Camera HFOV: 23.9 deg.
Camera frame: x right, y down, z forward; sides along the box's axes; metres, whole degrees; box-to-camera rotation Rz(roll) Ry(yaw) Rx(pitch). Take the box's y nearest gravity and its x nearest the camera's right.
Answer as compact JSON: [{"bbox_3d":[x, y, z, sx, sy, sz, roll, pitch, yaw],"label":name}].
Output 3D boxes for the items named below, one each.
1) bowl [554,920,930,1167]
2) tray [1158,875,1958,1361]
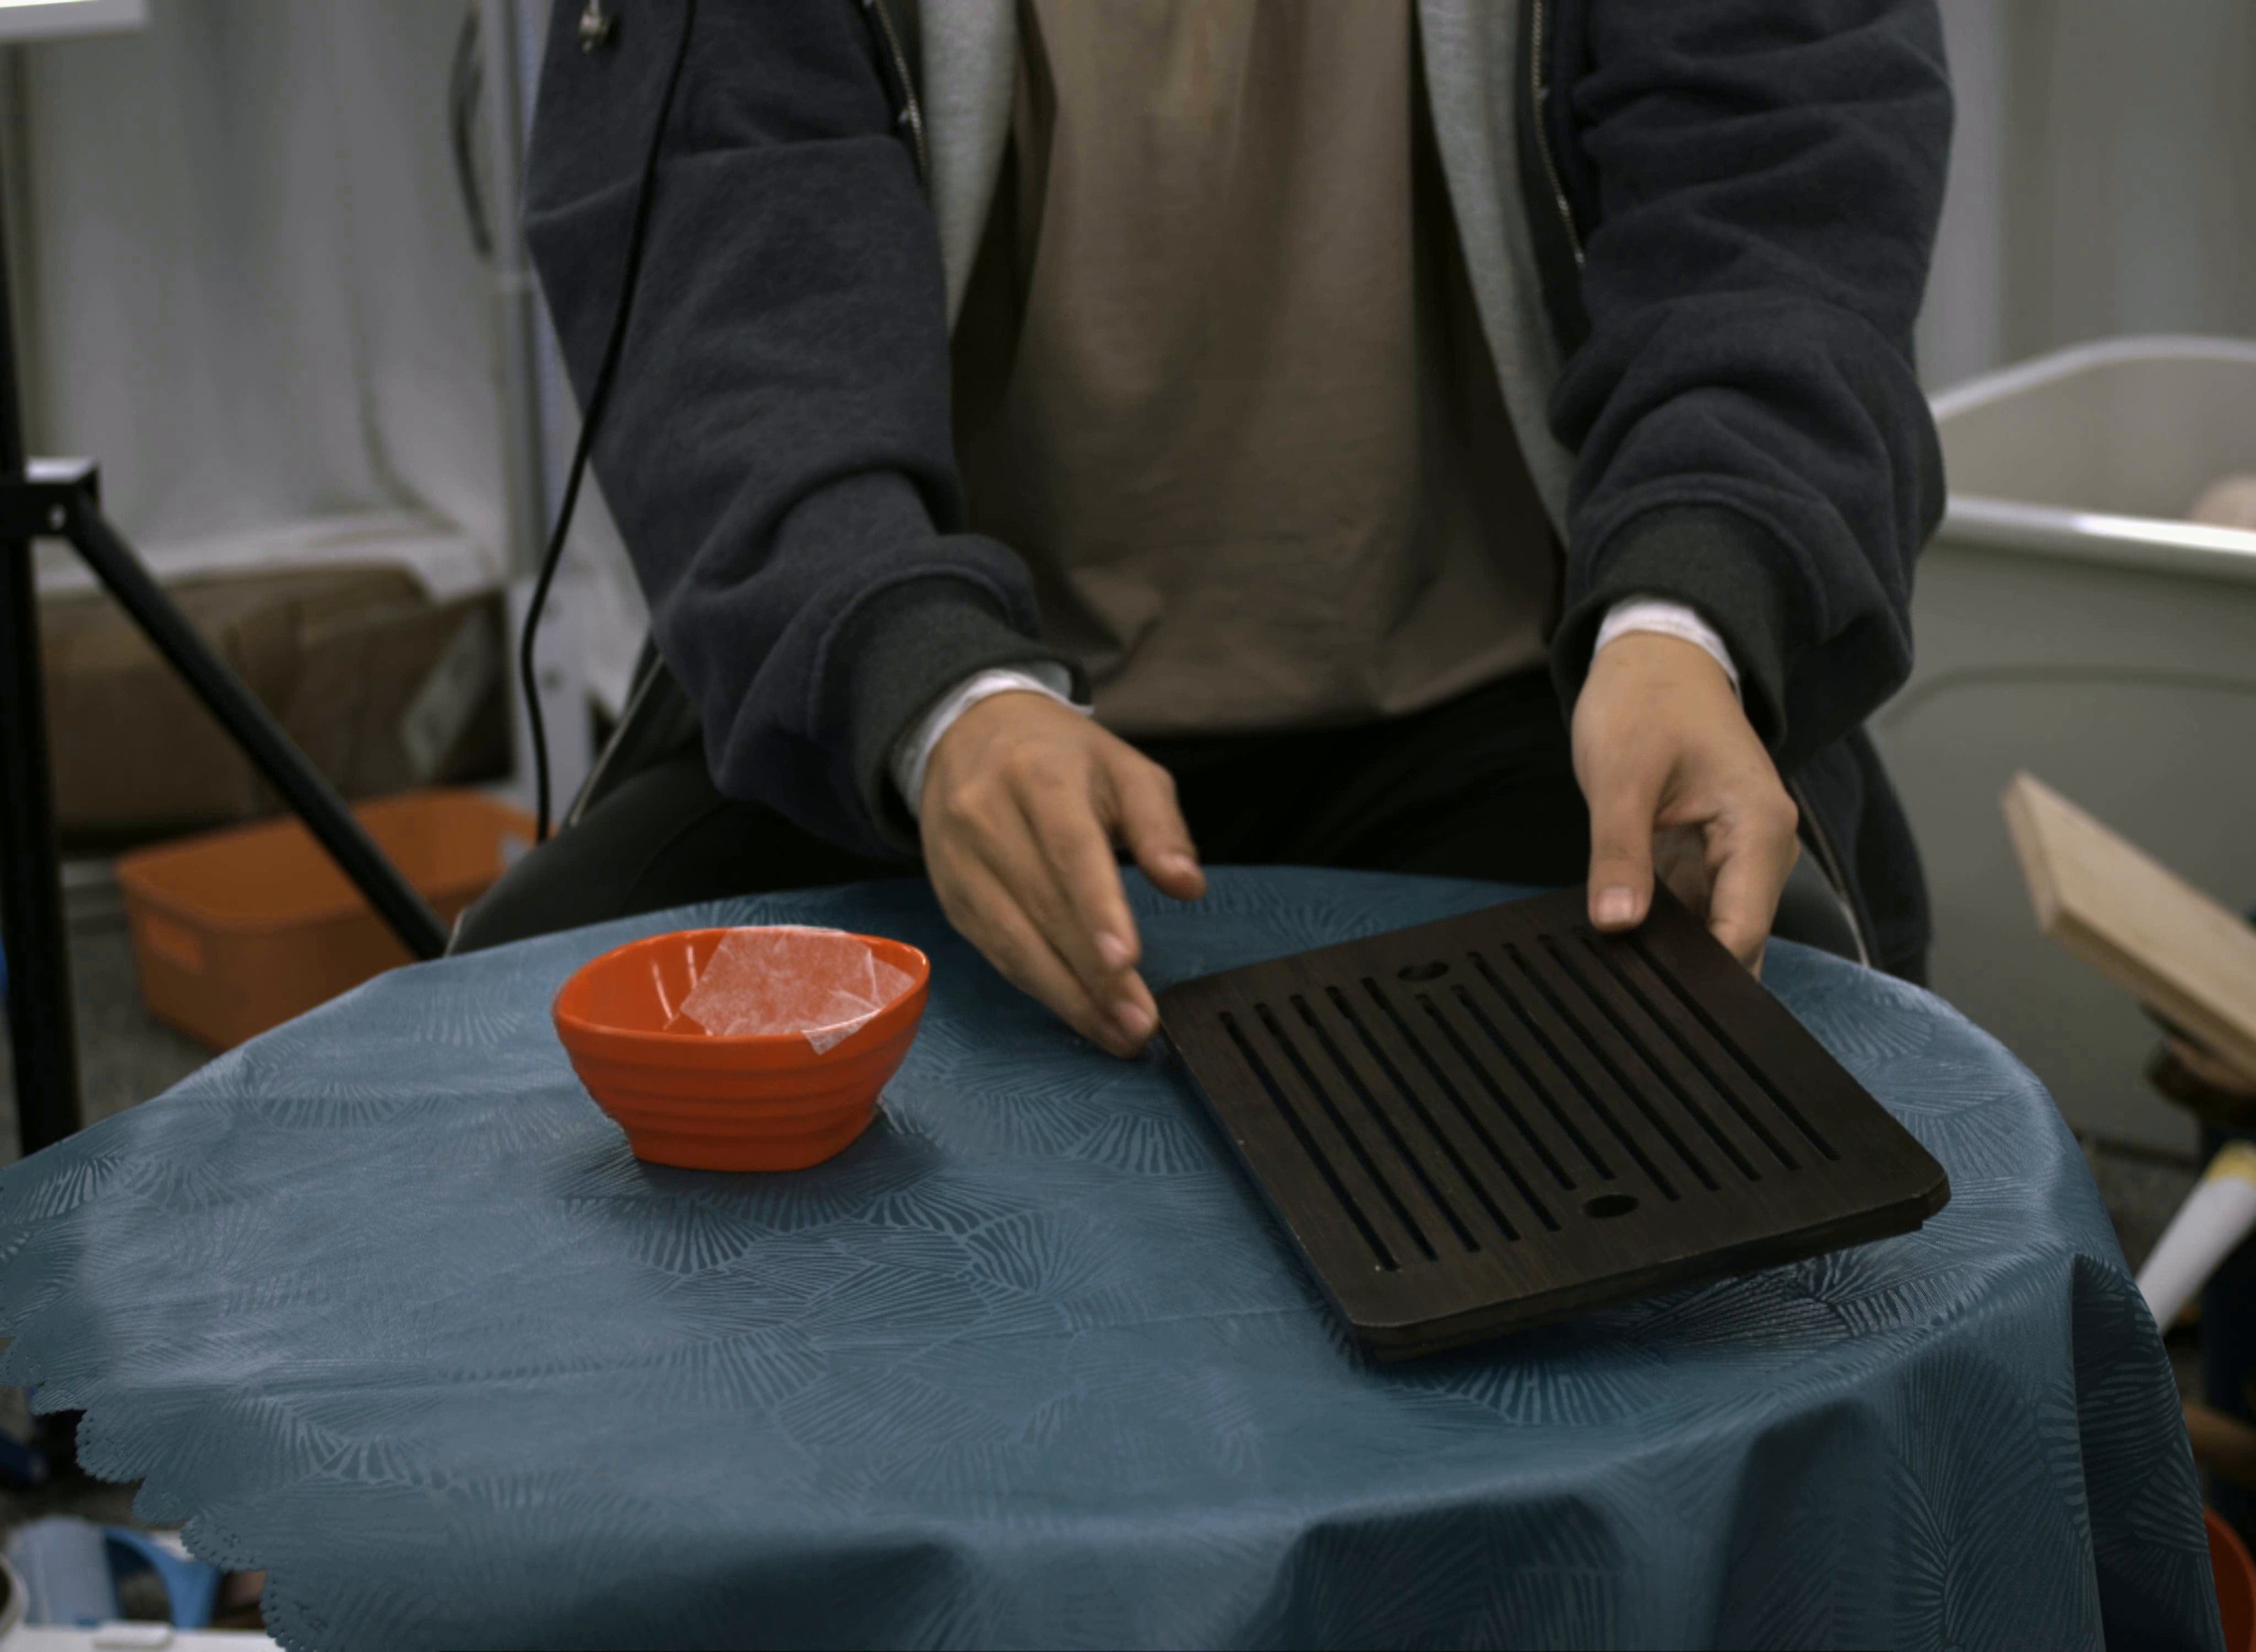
[{"bbox_3d":[-0.115,0.068,1.620,0.118,0.051,0.119,-4,16,0],"label":"bowl"},{"bbox_3d":[0.118,0.081,1.553,0.169,0.018,0.309,-14,17,-6],"label":"tray"}]
